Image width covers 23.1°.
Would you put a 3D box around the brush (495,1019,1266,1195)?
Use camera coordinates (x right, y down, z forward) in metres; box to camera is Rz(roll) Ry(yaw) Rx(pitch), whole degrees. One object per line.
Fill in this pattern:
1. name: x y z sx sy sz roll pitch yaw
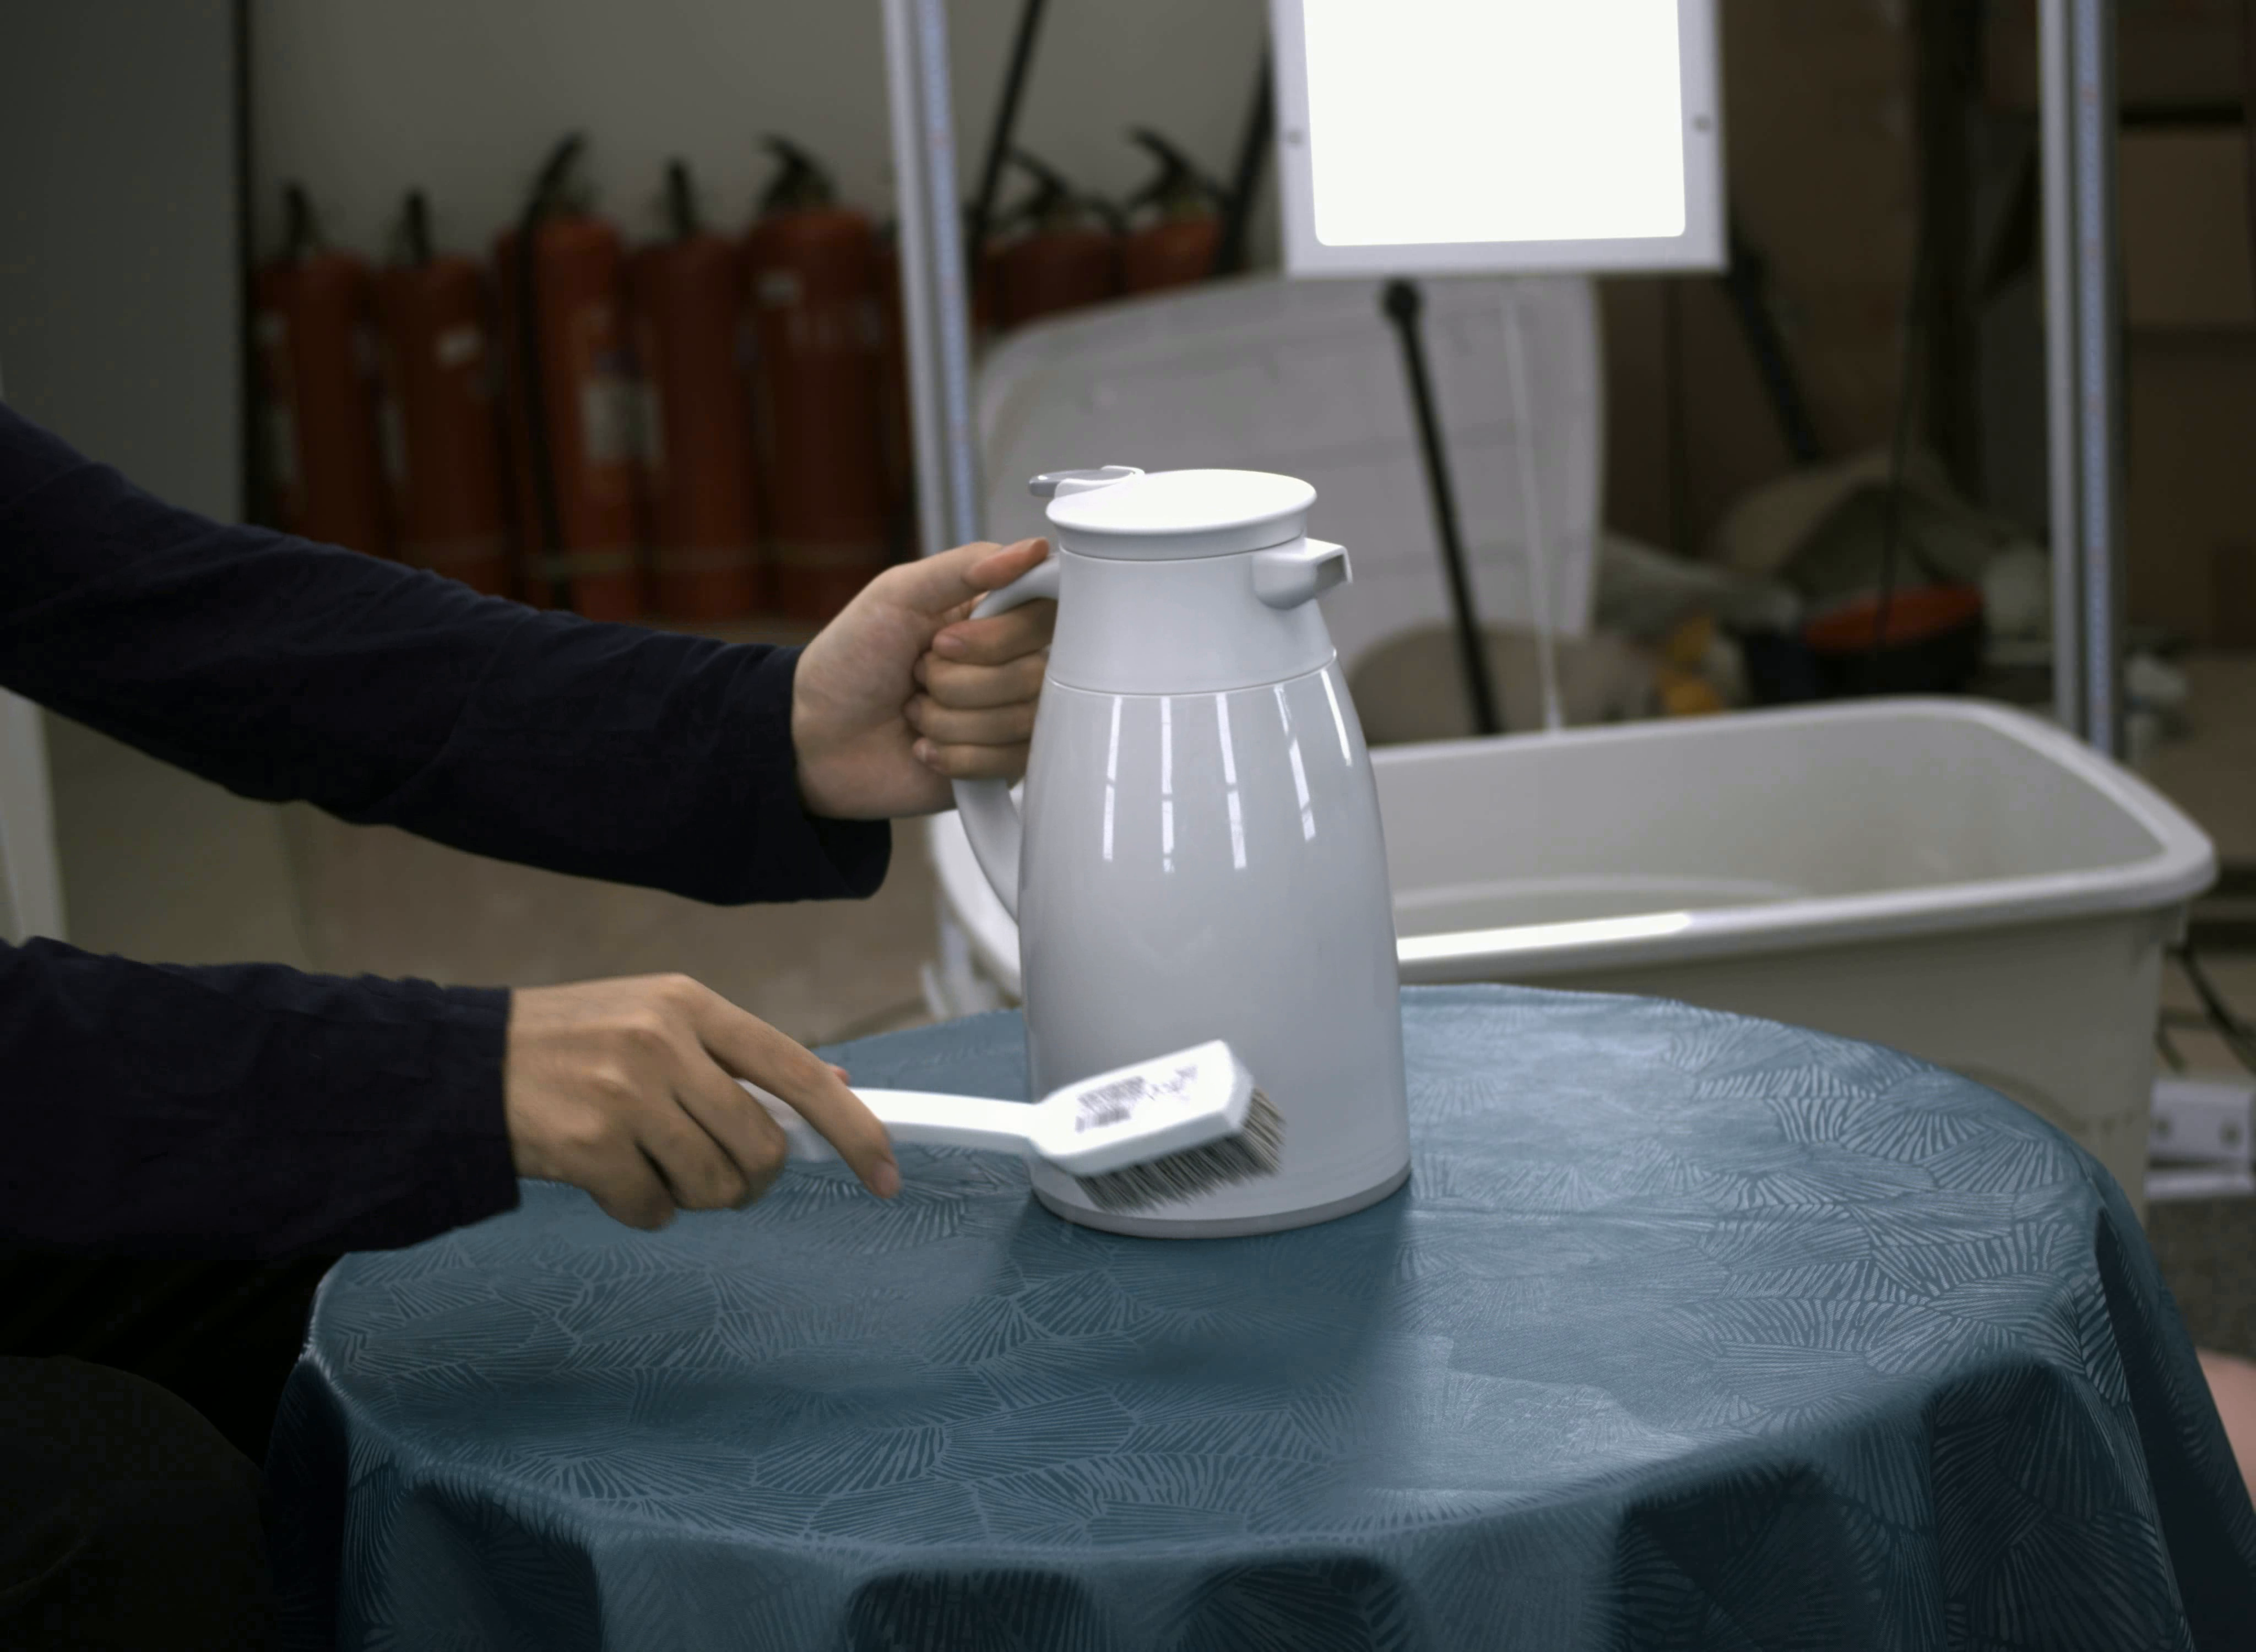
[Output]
1. brush: -0.077 0.097 1.745 0.244 0.050 0.034 -6 45 7

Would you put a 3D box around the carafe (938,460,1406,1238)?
1. carafe: 0.008 0.000 1.882 0.171 0.249 0.129 7 18 37
